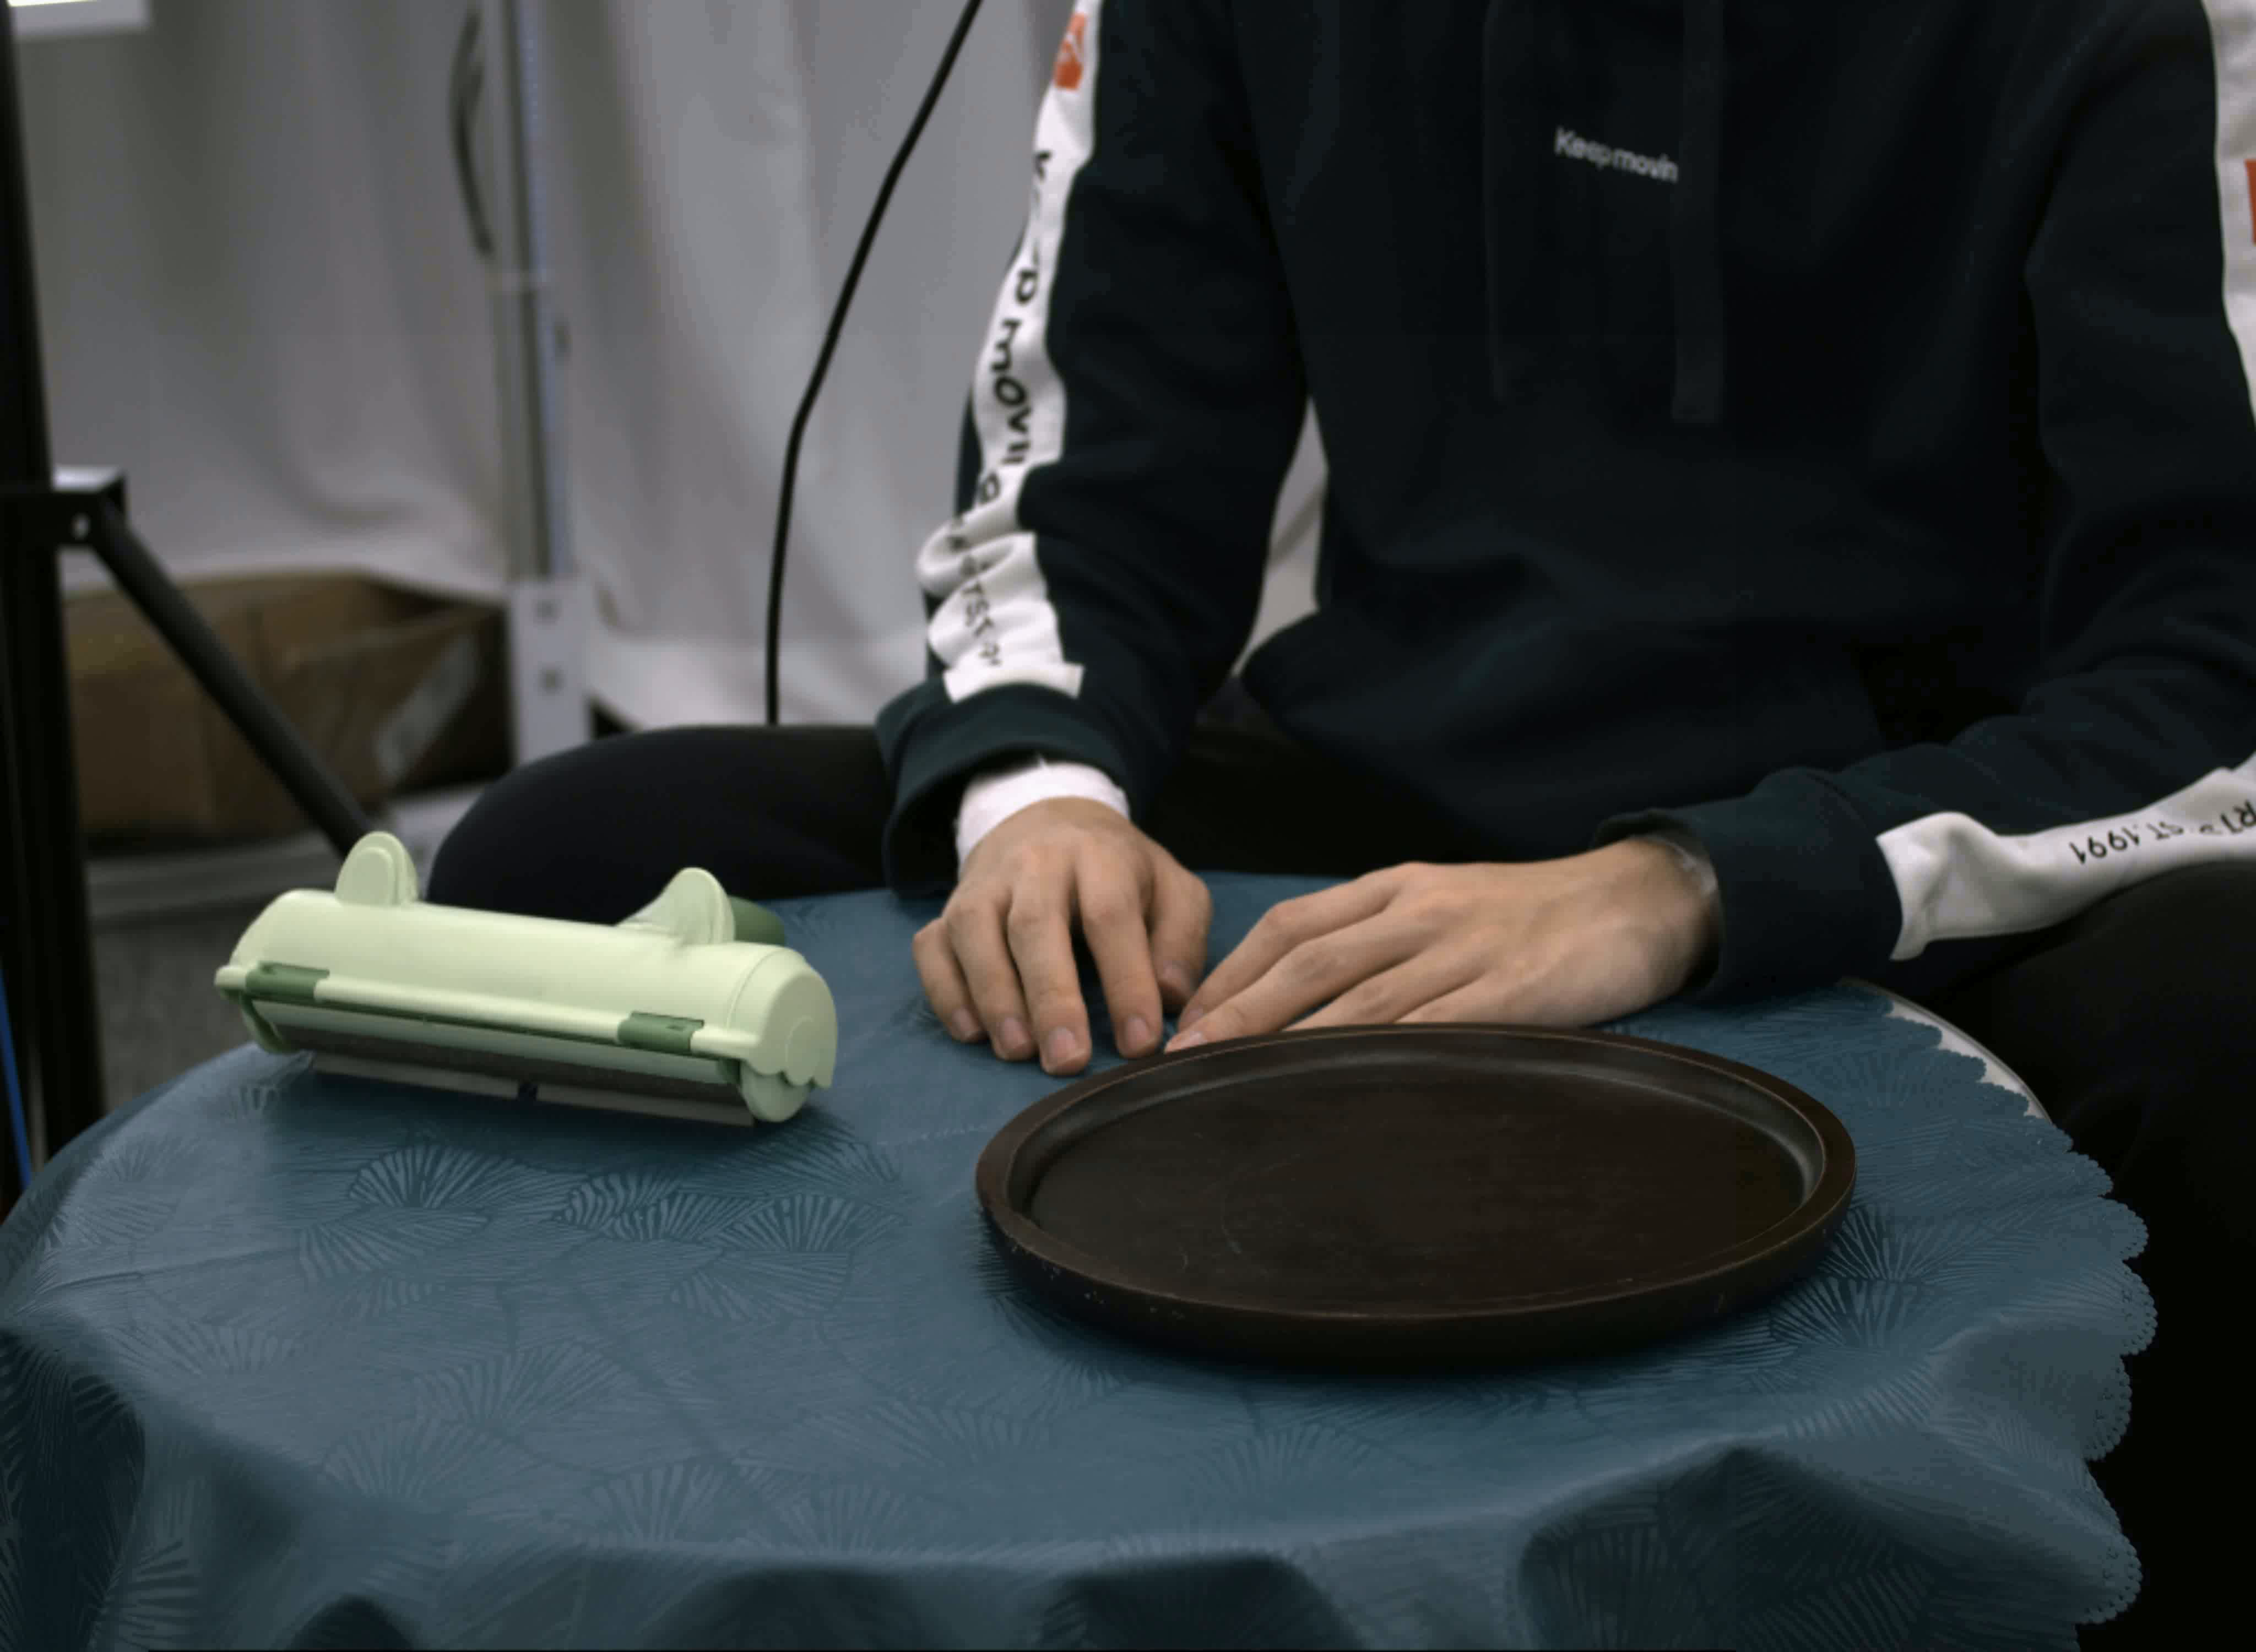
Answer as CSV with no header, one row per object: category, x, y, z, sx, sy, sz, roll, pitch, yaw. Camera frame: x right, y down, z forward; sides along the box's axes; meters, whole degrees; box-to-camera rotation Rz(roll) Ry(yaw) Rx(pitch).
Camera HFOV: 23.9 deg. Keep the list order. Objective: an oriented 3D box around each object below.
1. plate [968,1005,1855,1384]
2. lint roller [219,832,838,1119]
plate,0.081,0.105,1.510,0.253,0.029,0.256,-4,16,0
lint roller,-0.162,0.032,1.709,0.202,0.082,0.180,6,21,28
